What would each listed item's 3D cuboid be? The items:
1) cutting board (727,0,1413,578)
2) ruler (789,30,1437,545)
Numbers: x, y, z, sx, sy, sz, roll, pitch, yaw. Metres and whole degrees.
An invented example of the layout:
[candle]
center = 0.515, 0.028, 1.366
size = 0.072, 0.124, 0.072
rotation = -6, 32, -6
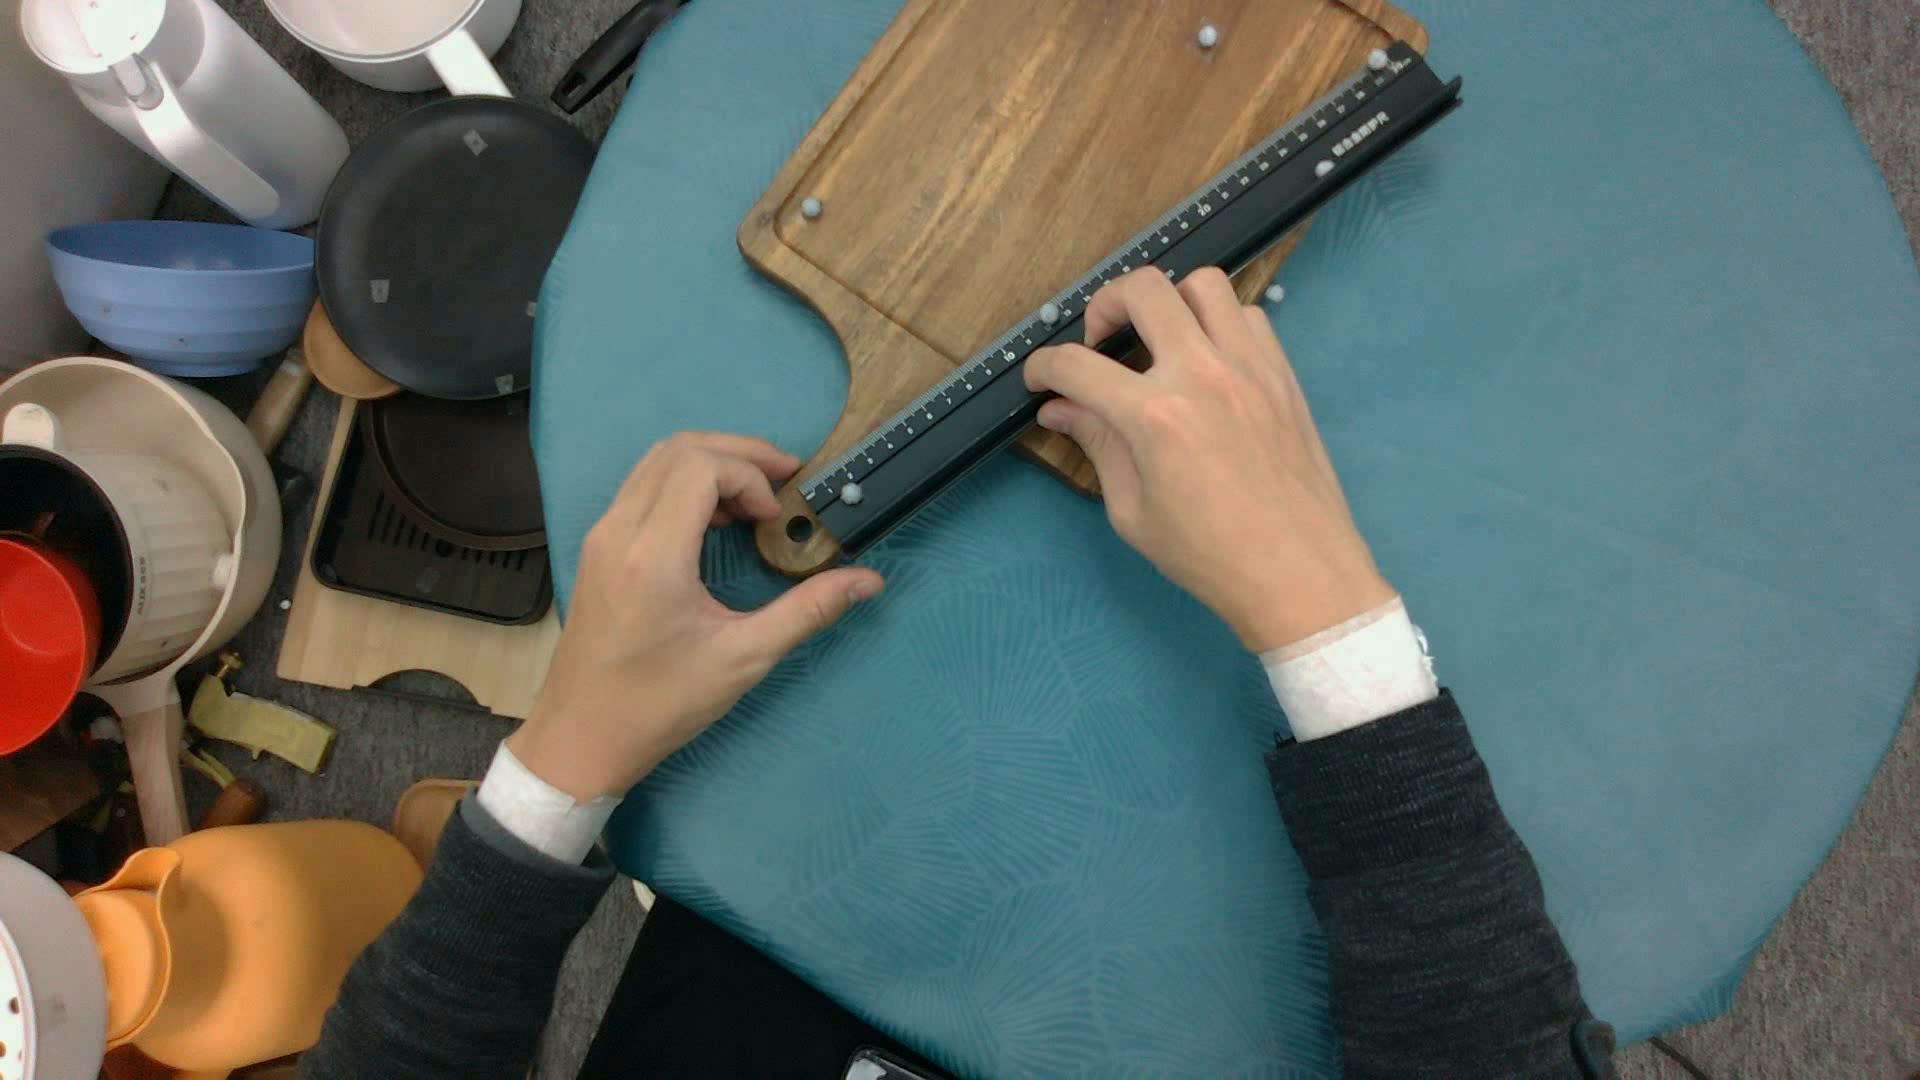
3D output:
[cutting board]
center = 0.021, -0.133, 0.586
size = 0.201, 0.023, 0.352
rotation = 34, 83, 4
[ruler]
center = 0.064, -0.108, 0.554
size = 0.313, 0.017, 0.039
rotation = -38, 79, -5
